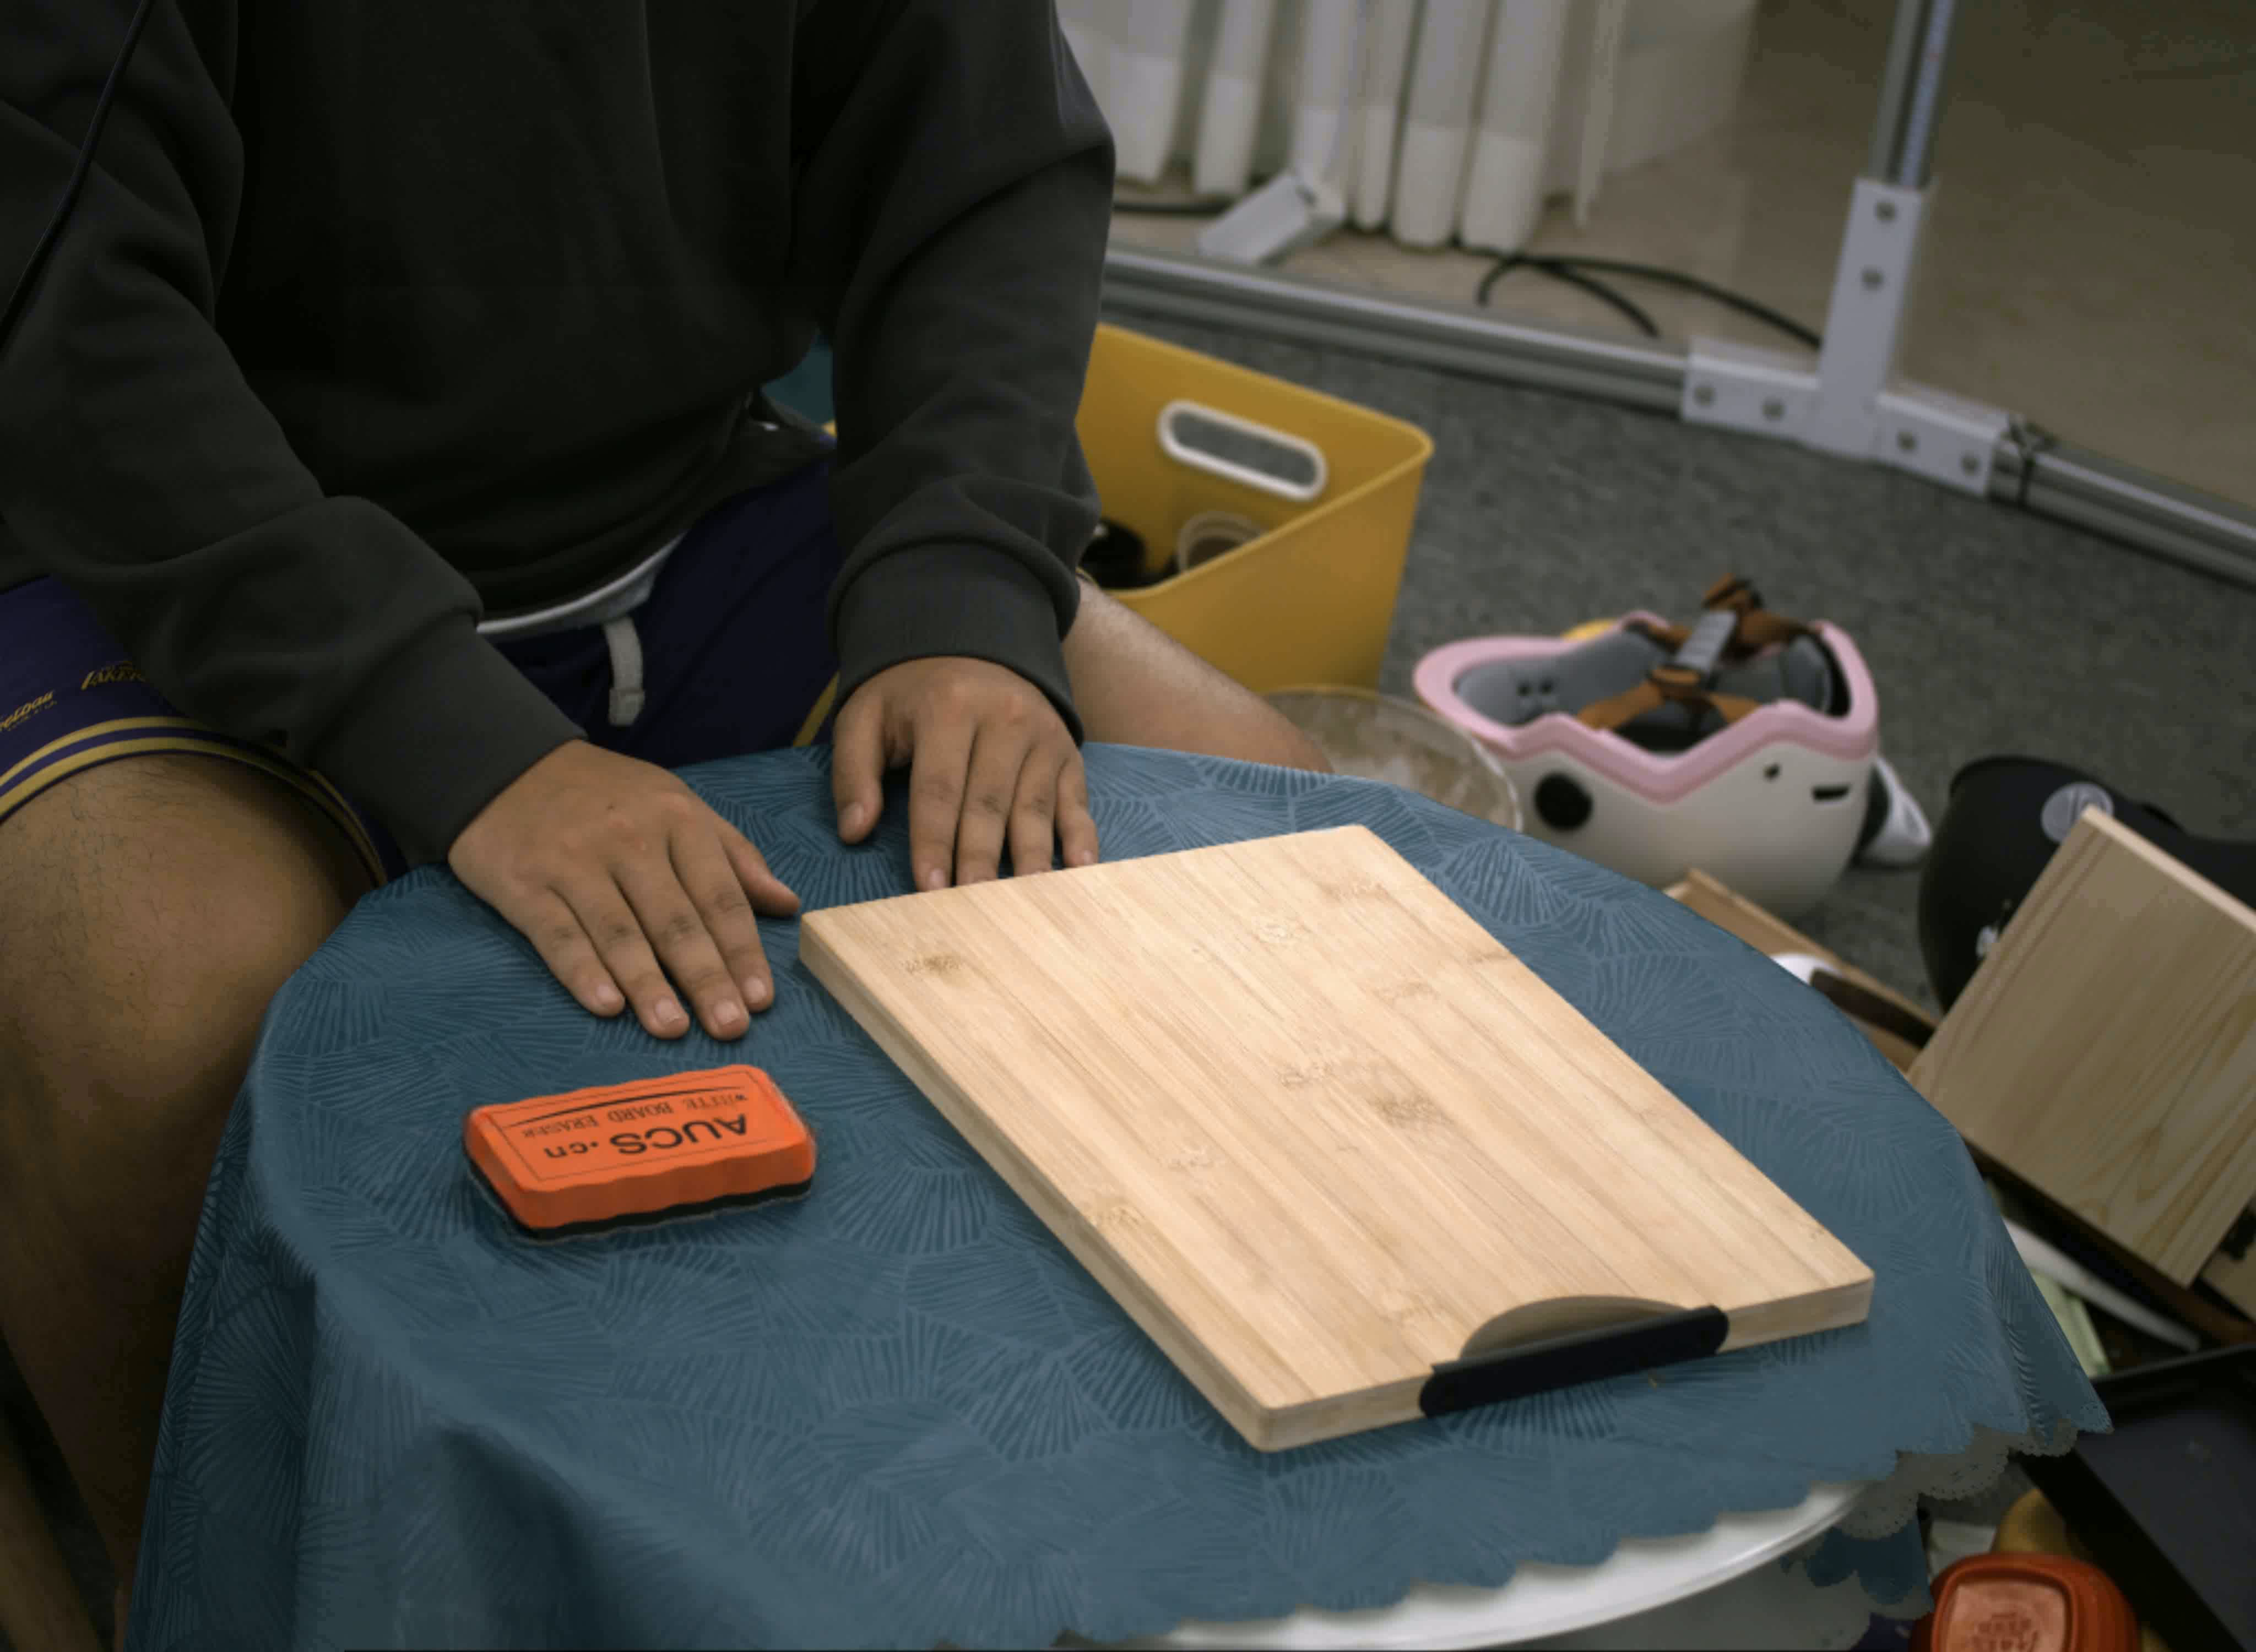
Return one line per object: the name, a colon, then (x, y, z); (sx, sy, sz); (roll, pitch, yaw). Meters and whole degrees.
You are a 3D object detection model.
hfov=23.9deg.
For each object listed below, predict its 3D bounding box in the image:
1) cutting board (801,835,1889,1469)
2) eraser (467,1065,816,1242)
cutting board: (0.067, 0.102, 1.842); (0.249, 0.023, 0.352); (-10, 31, -28)
eraser: (-0.161, 0.108, 1.768); (0.107, 0.023, 0.059); (-7, 31, -26)
